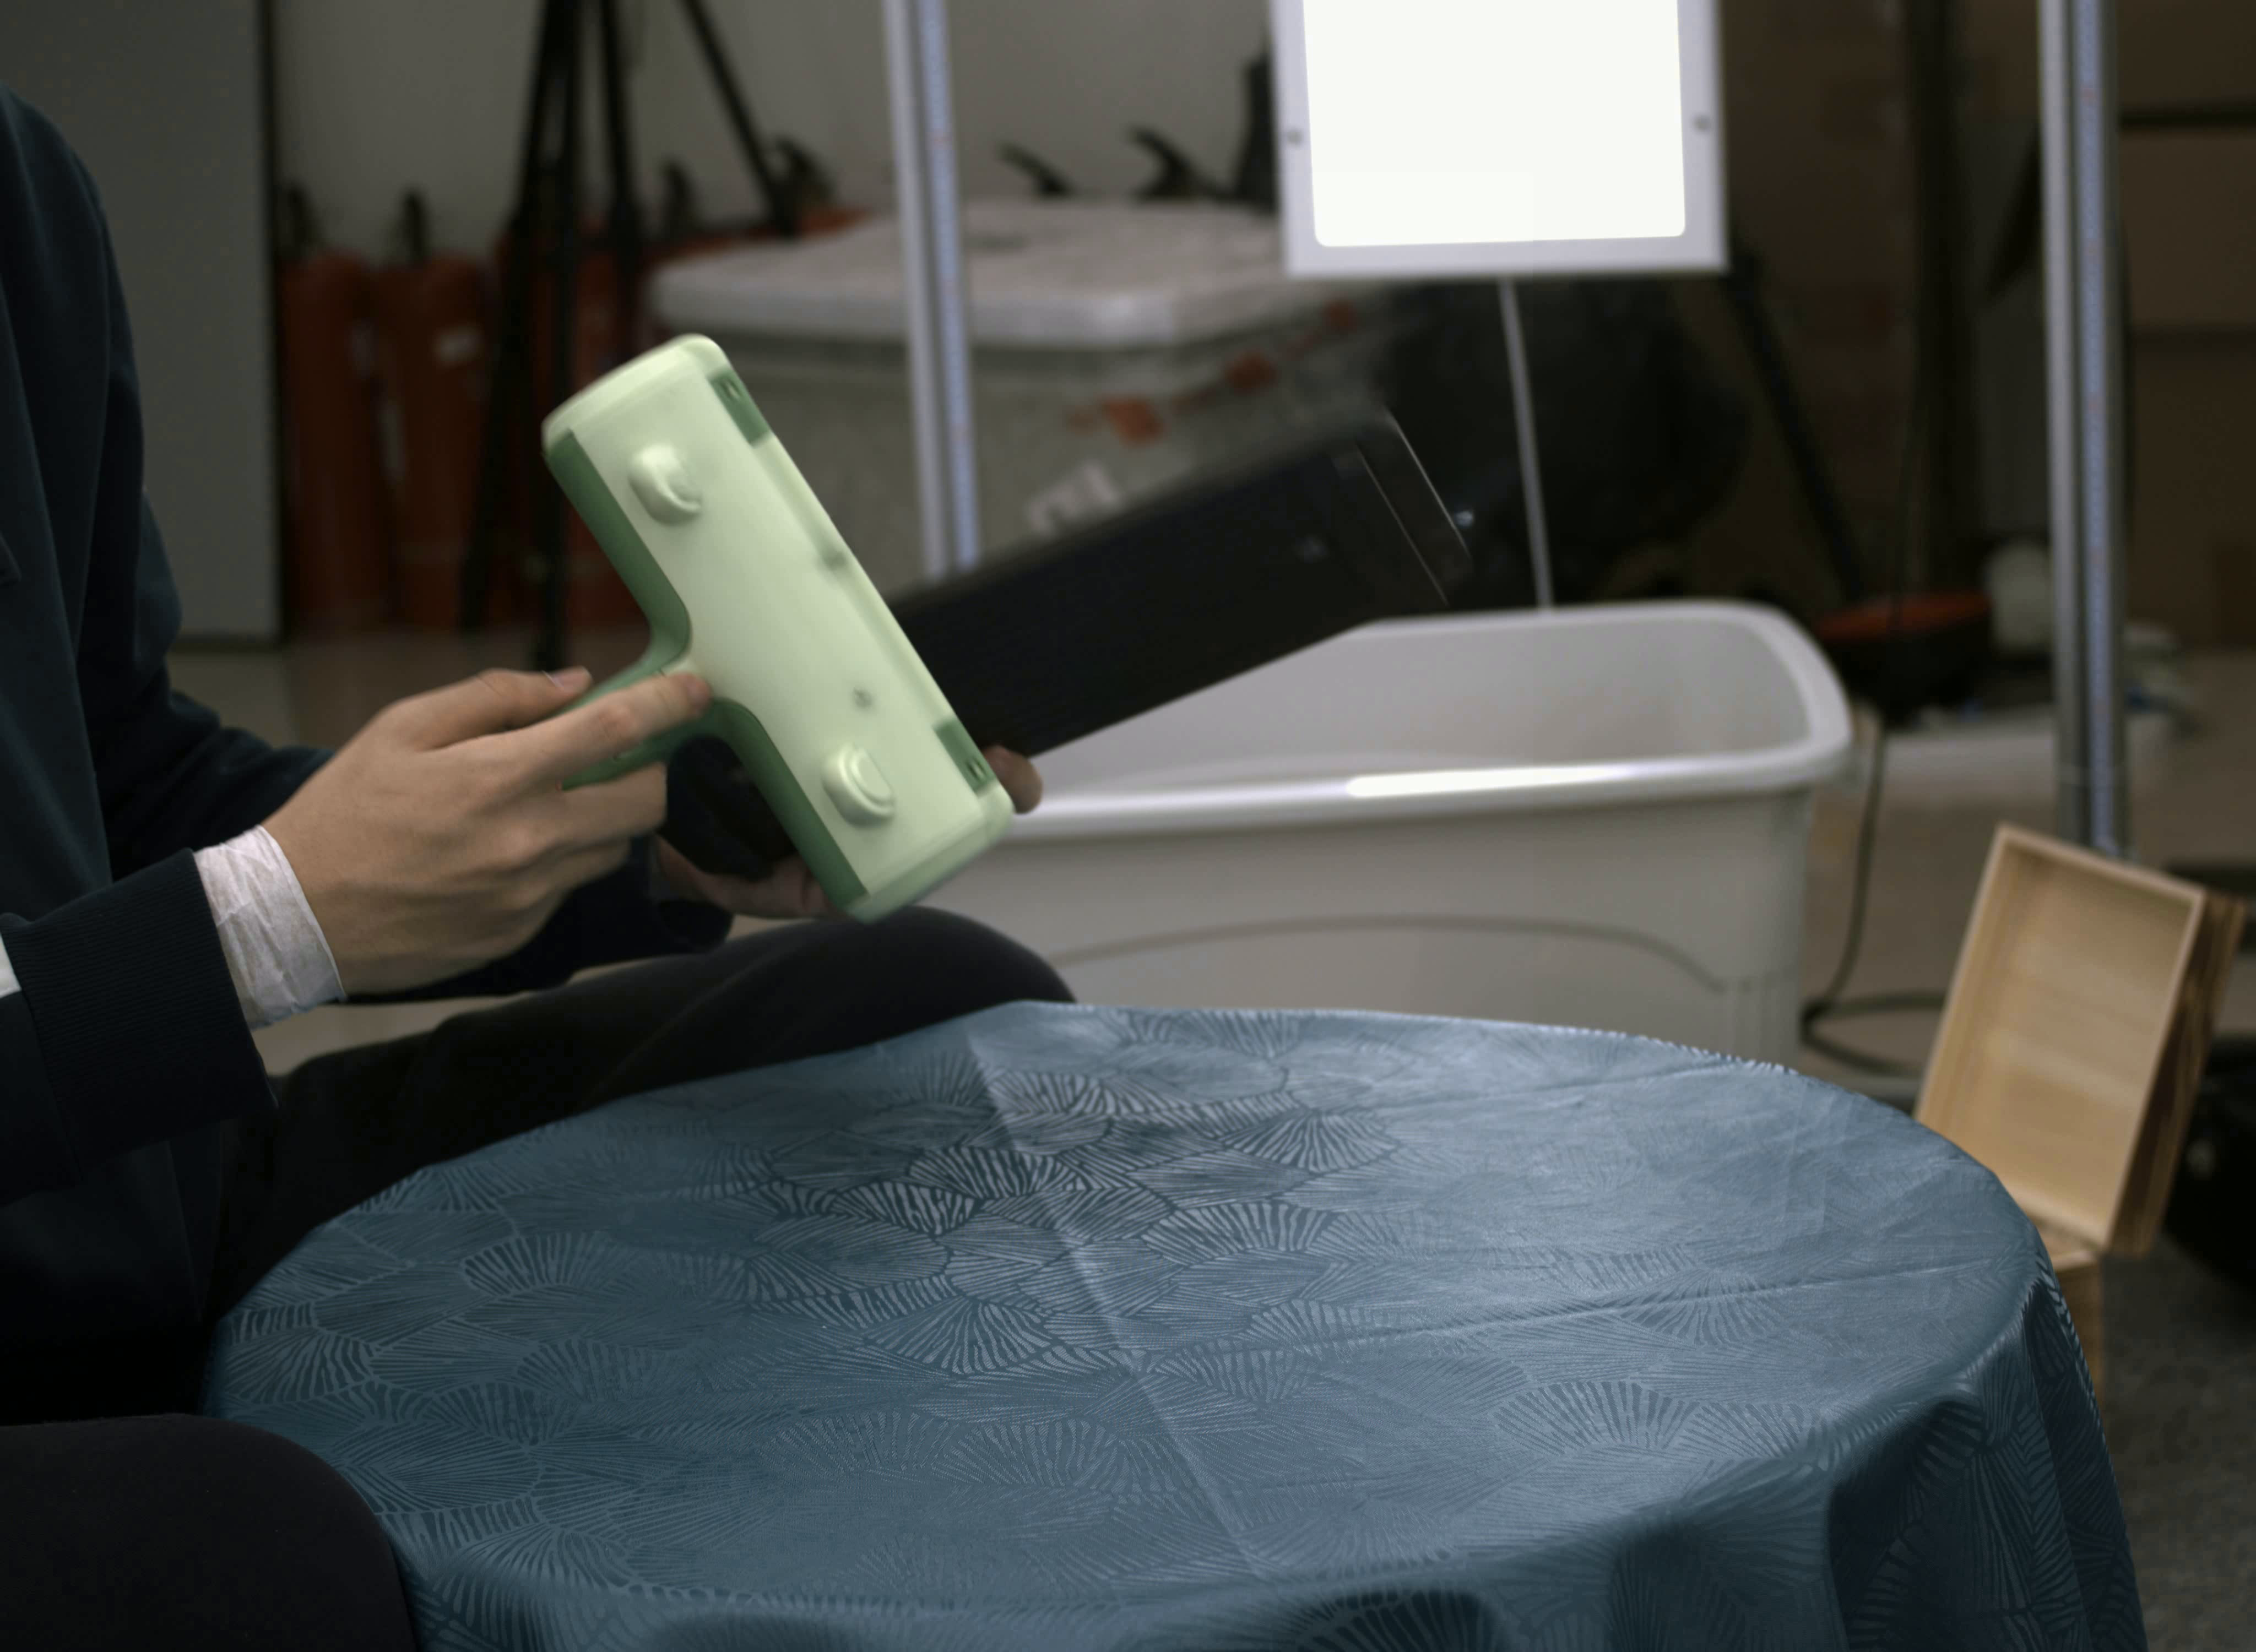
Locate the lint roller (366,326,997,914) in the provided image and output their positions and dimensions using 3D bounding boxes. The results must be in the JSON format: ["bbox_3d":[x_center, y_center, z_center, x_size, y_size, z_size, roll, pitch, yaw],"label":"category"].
[{"bbox_3d":[-0.165,-0.036,1.785,0.181,0.198,0.083,-34,3,-12],"label":"lint roller"}]

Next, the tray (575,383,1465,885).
[{"bbox_3d":[-0.036,-0.061,1.928,0.308,0.019,0.168,-22,-23,9],"label":"tray"}]
